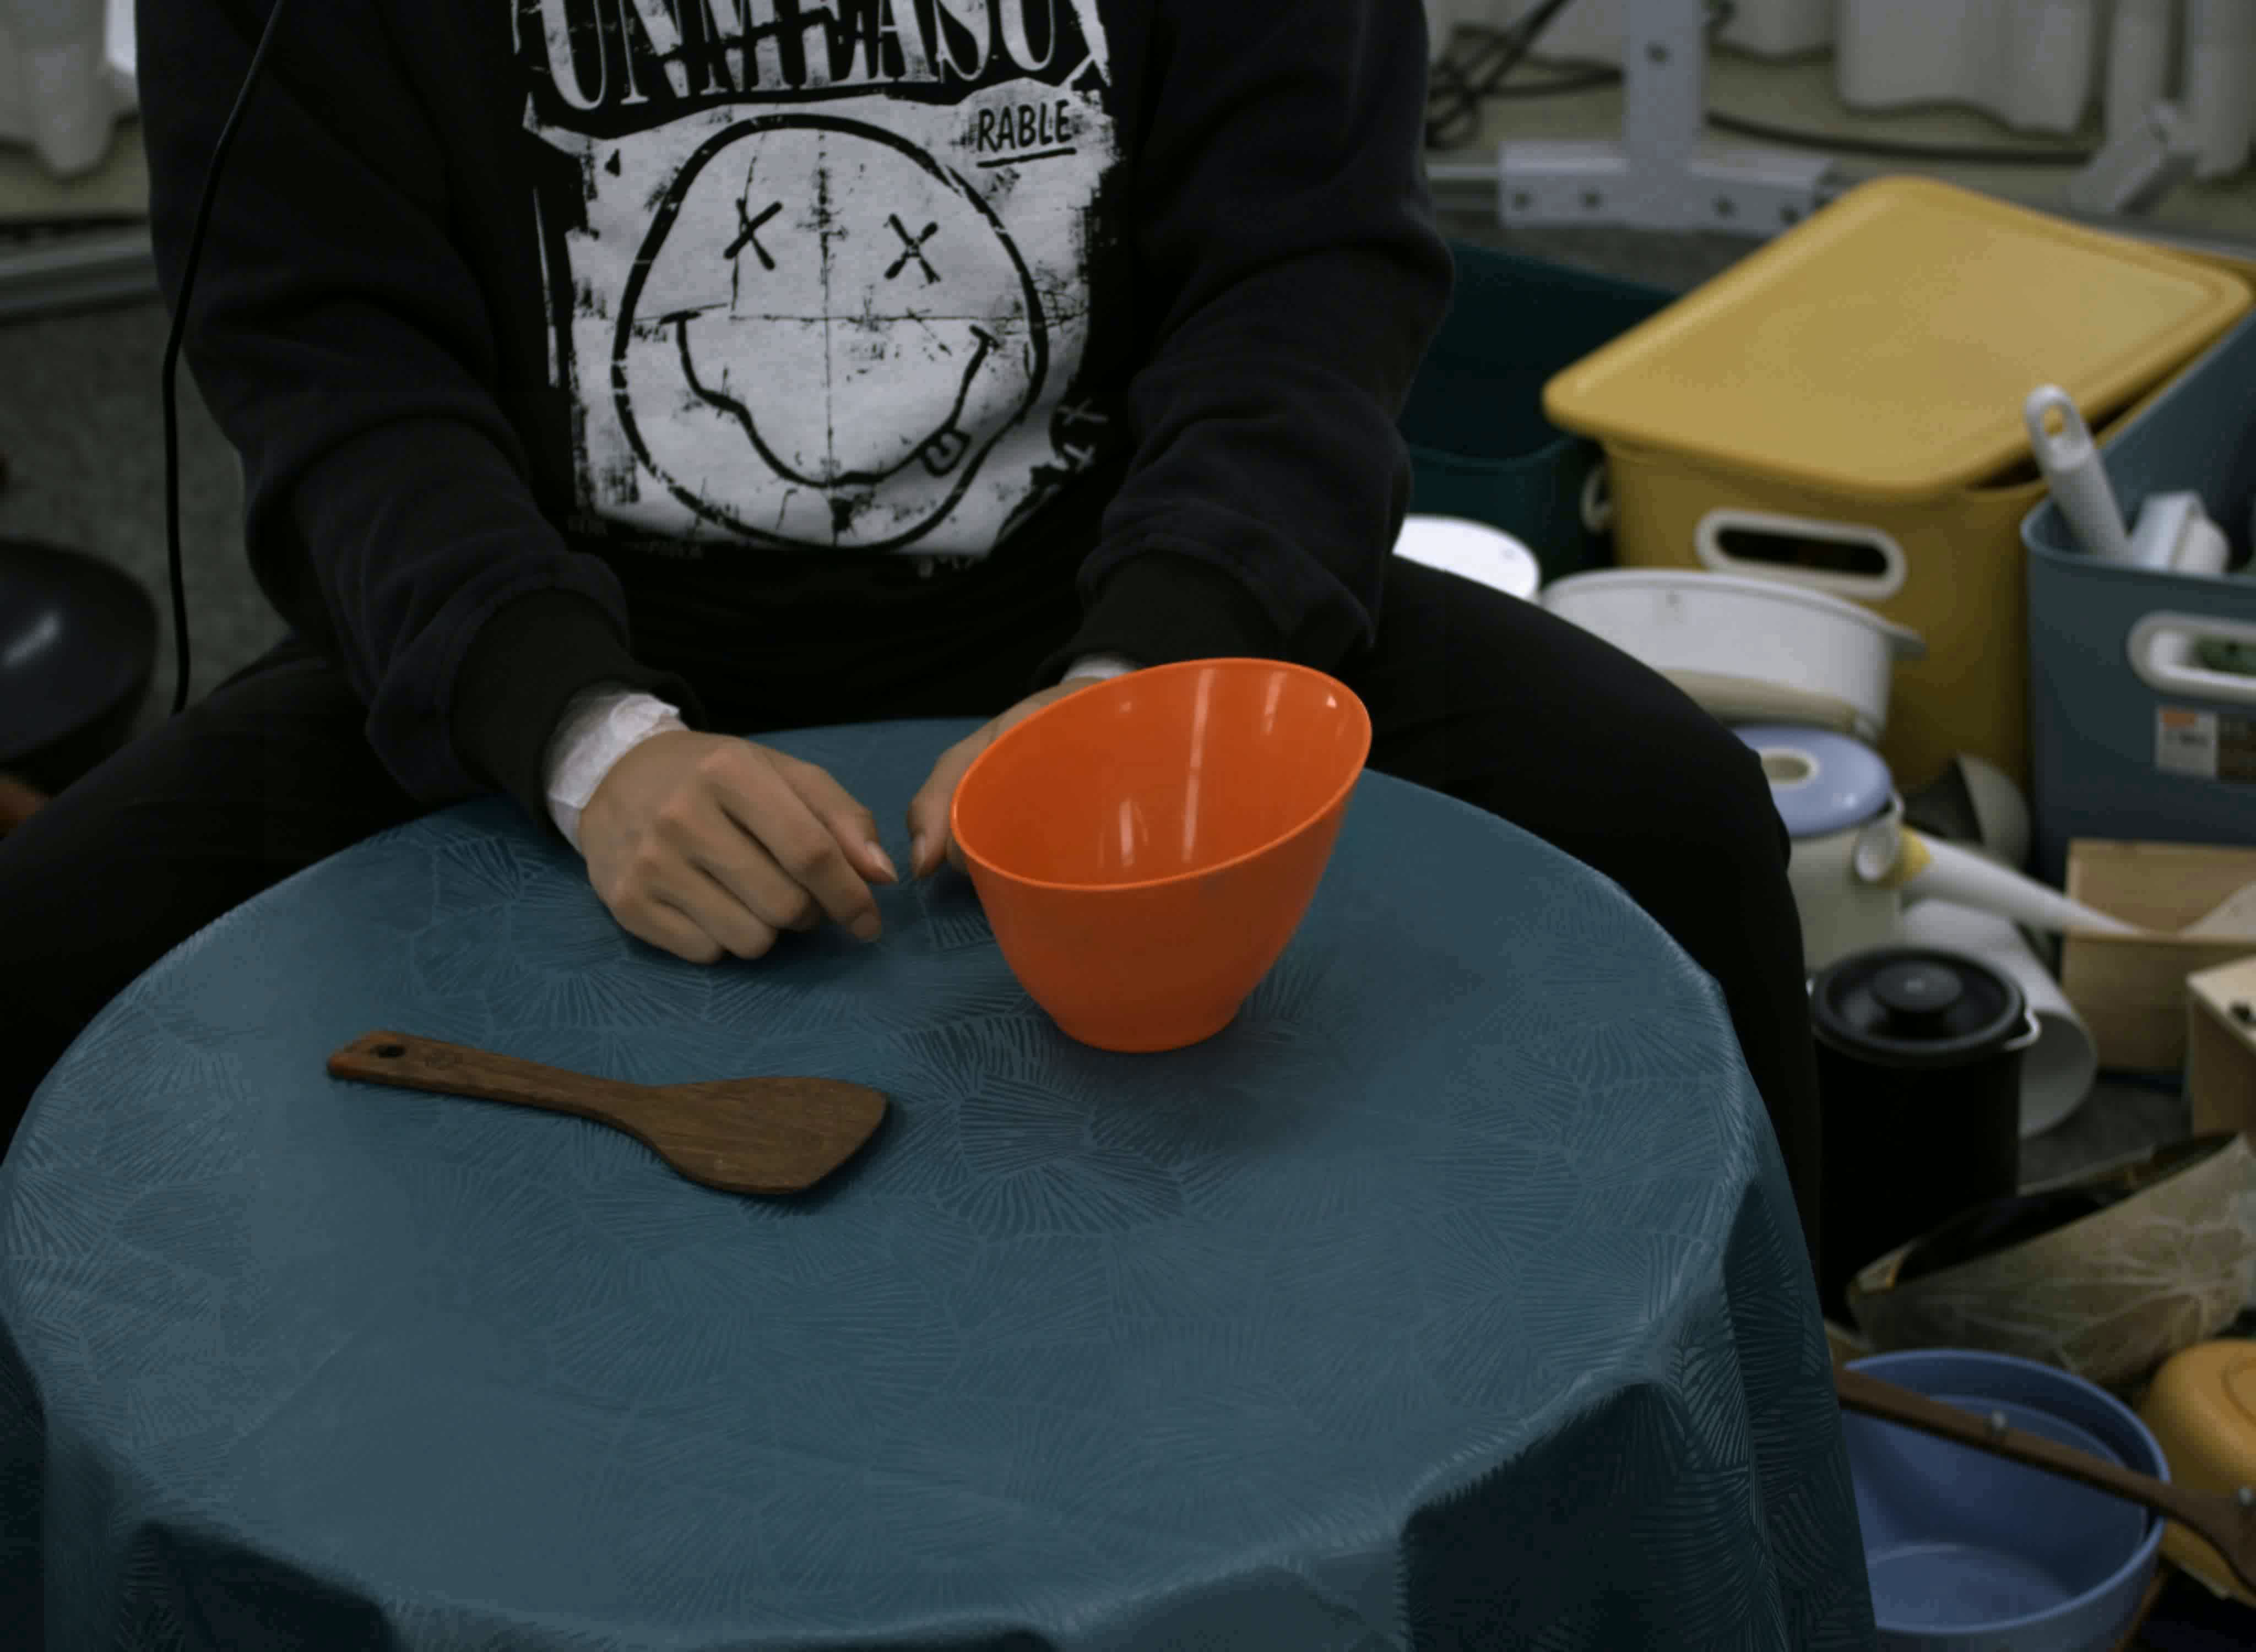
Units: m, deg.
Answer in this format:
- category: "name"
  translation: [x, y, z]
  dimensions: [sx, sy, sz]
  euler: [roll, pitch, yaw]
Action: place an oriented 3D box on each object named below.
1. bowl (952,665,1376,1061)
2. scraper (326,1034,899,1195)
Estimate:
- category: "bowl"
  translation: [0.014, 0.019, 1.951]
  dimensions: [0.147, 0.103, 0.150]
  euler: [-2, 27, 2]
- category: "scraper"
  translation: [-0.181, 0.094, 1.924]
  dimensions: [0.210, 0.011, 0.077]
  euler: [9, 28, 23]
